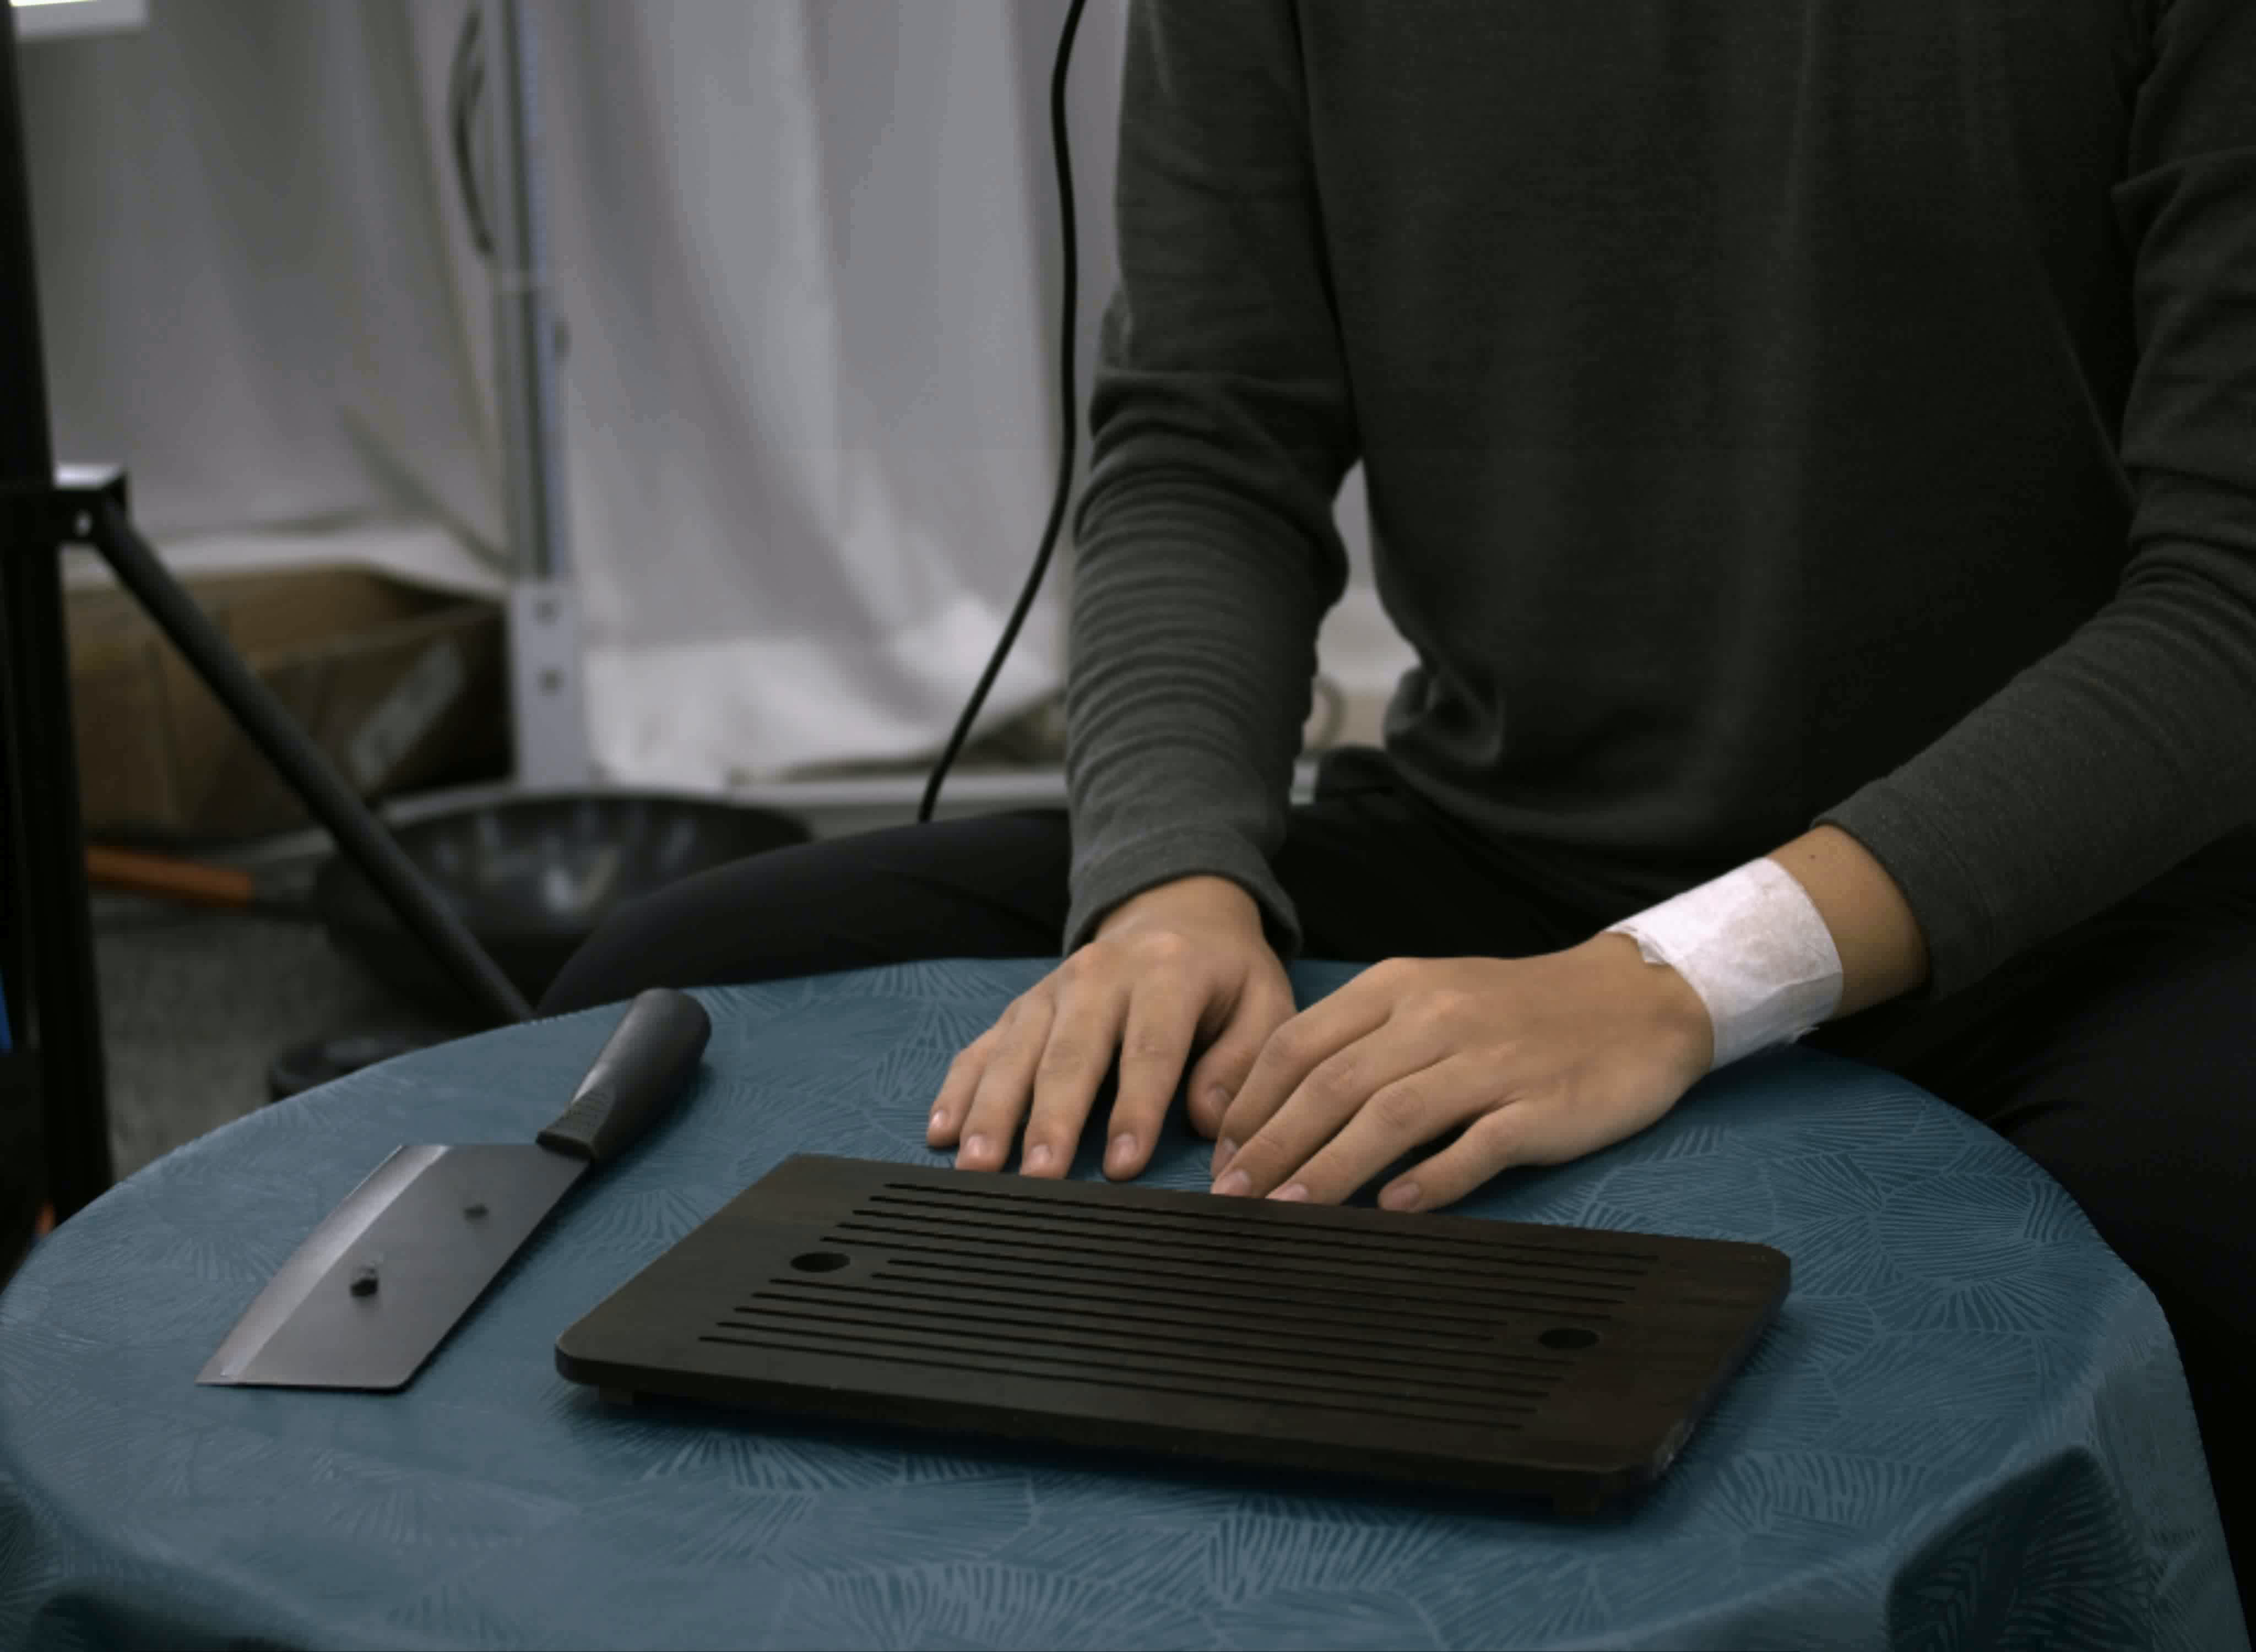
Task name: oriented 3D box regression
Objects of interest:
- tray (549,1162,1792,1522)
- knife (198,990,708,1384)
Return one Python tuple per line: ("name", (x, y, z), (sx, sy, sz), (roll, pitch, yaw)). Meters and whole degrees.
("tray", (0.014, 0.136, 1.427), (0.310, 0.018, 0.168), (4, 17, 22))
("knife", (-0.190, 0.105, 1.577), (0.082, 0.021, 0.299), (1, 18, 17))
